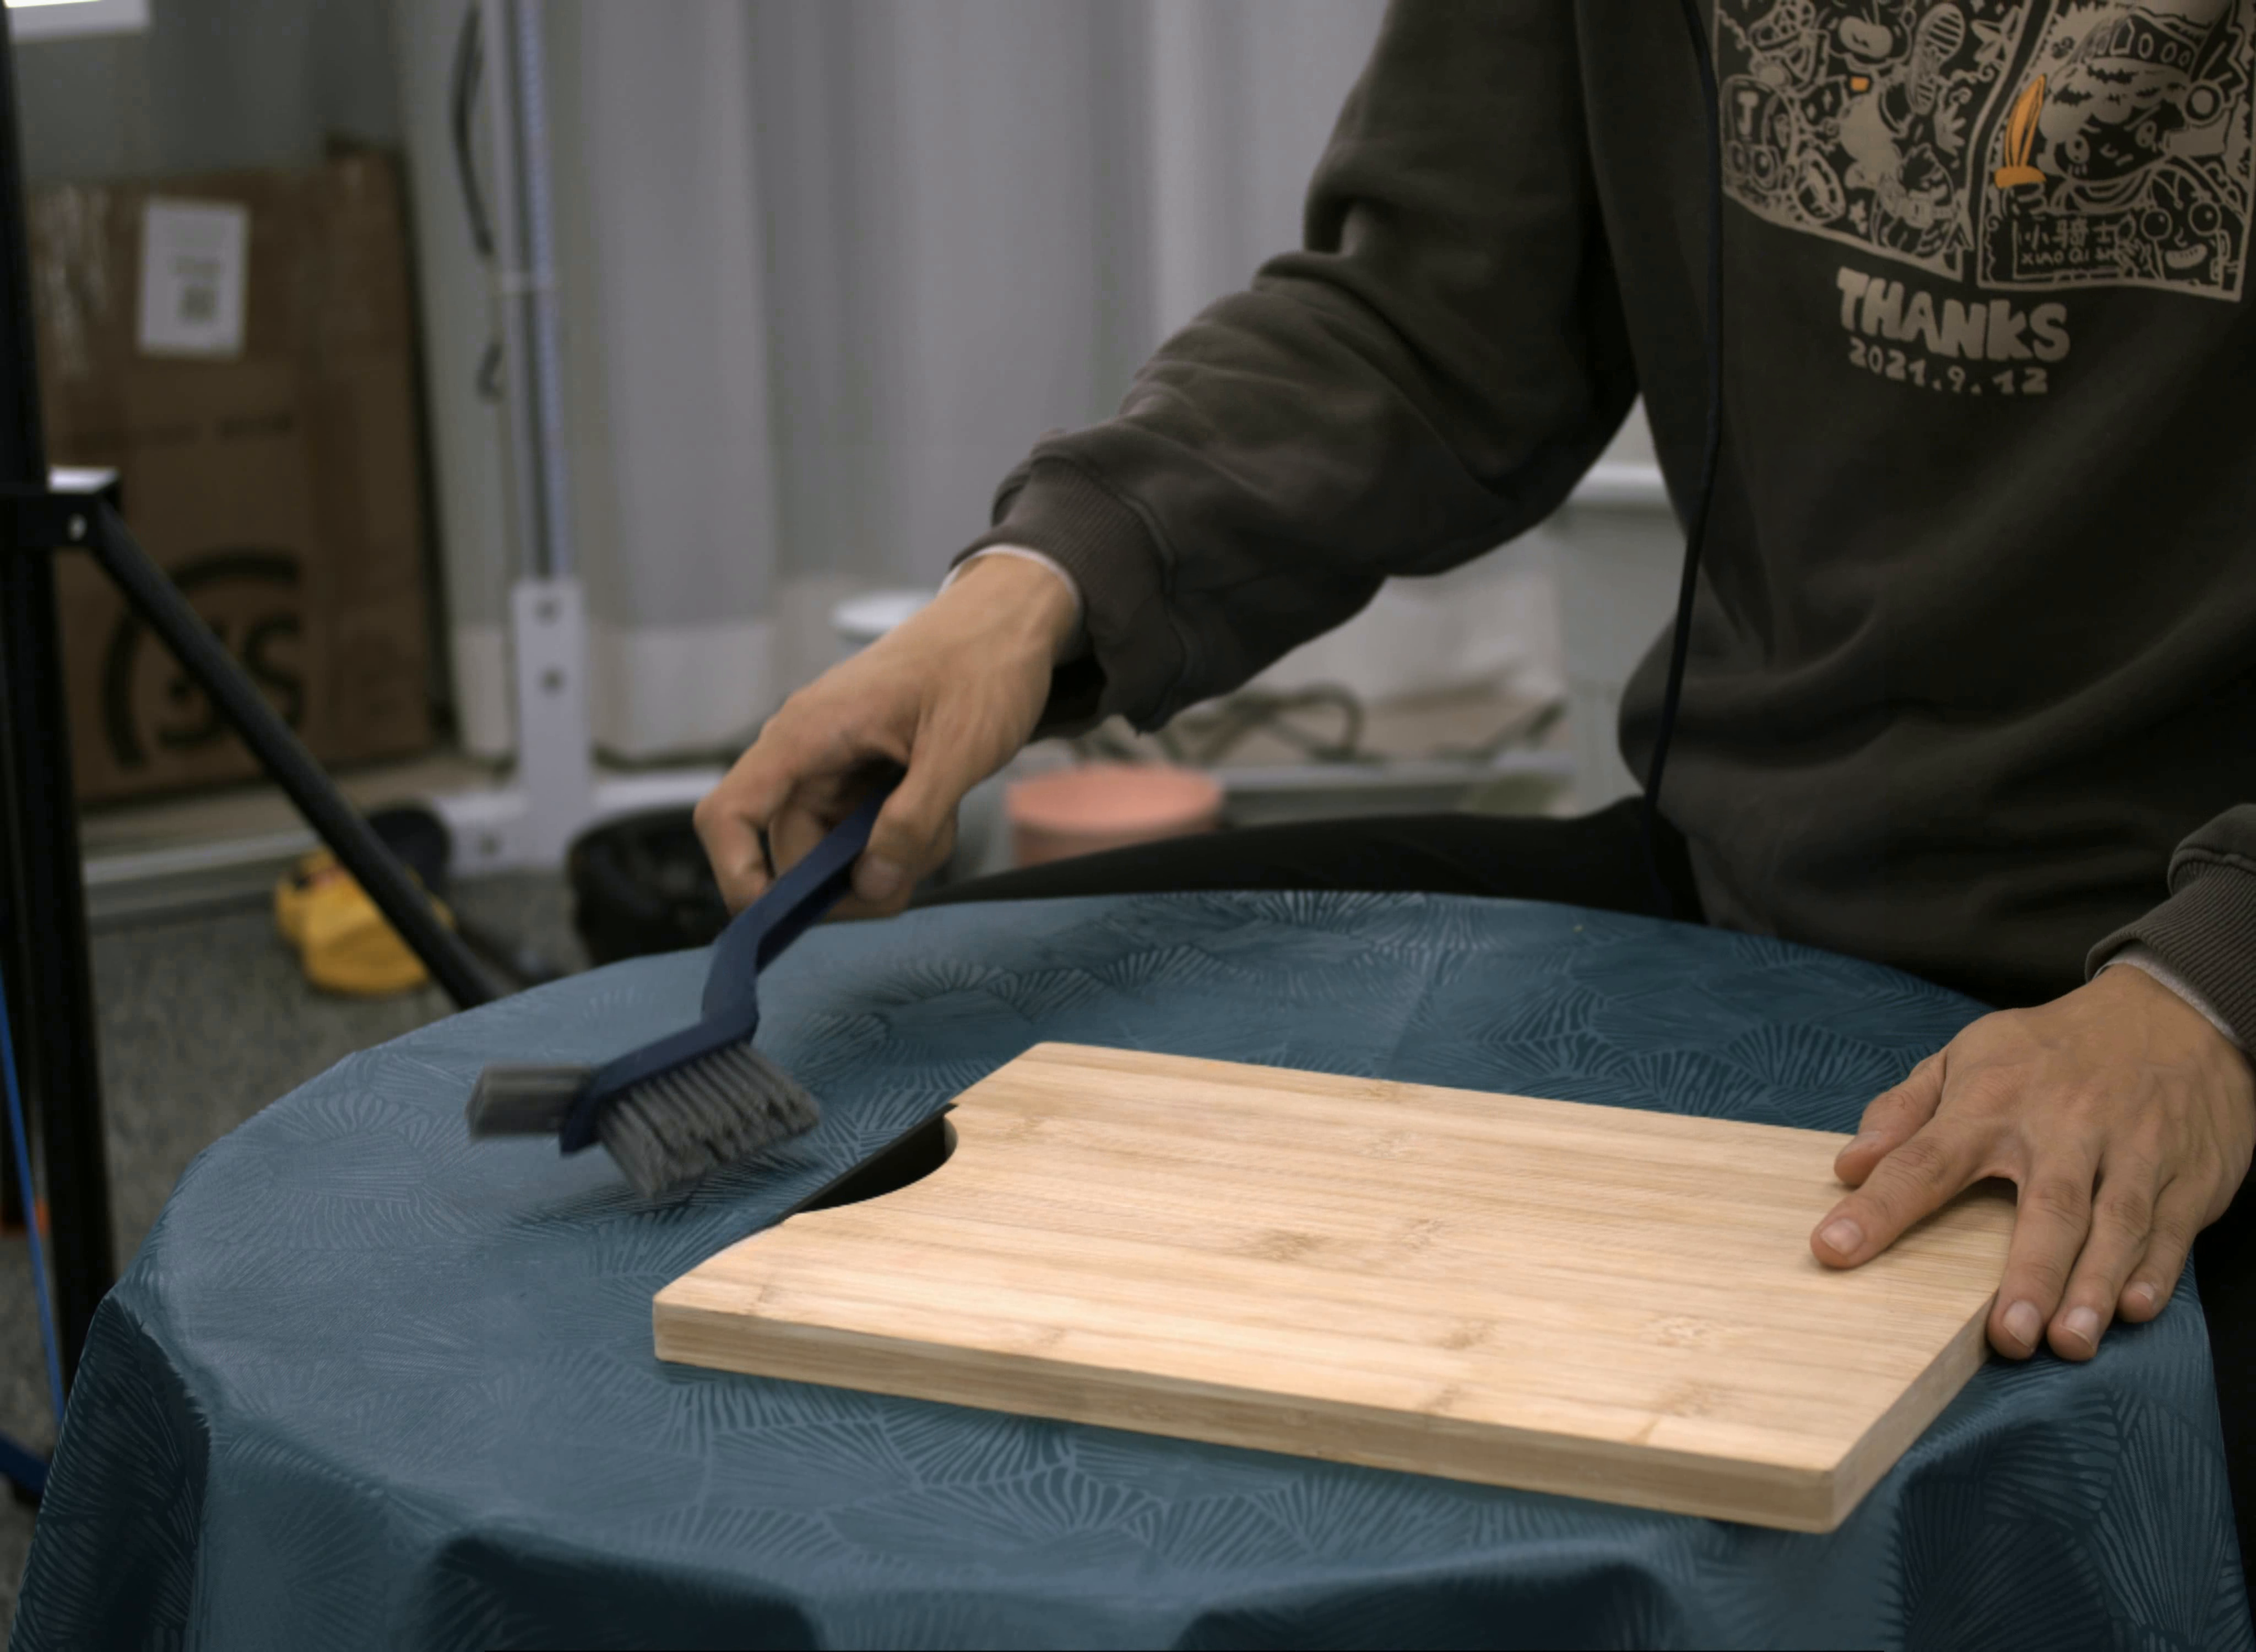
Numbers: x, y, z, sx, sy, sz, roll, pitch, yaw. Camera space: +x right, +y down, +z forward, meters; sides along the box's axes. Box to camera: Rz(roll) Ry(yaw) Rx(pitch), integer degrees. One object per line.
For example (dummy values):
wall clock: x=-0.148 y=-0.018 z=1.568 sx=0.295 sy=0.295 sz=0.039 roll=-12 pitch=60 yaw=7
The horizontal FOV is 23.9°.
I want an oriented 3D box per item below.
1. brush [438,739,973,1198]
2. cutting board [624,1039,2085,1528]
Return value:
brush: x=-0.122 y=0.035 z=1.671 sx=0.096 sy=0.033 sz=0.272 roll=22 pitch=33 yaw=6
cutting board: x=0.067 y=0.121 z=1.475 sx=0.354 sy=0.023 sz=0.247 roll=5 pitch=17 yaw=26
